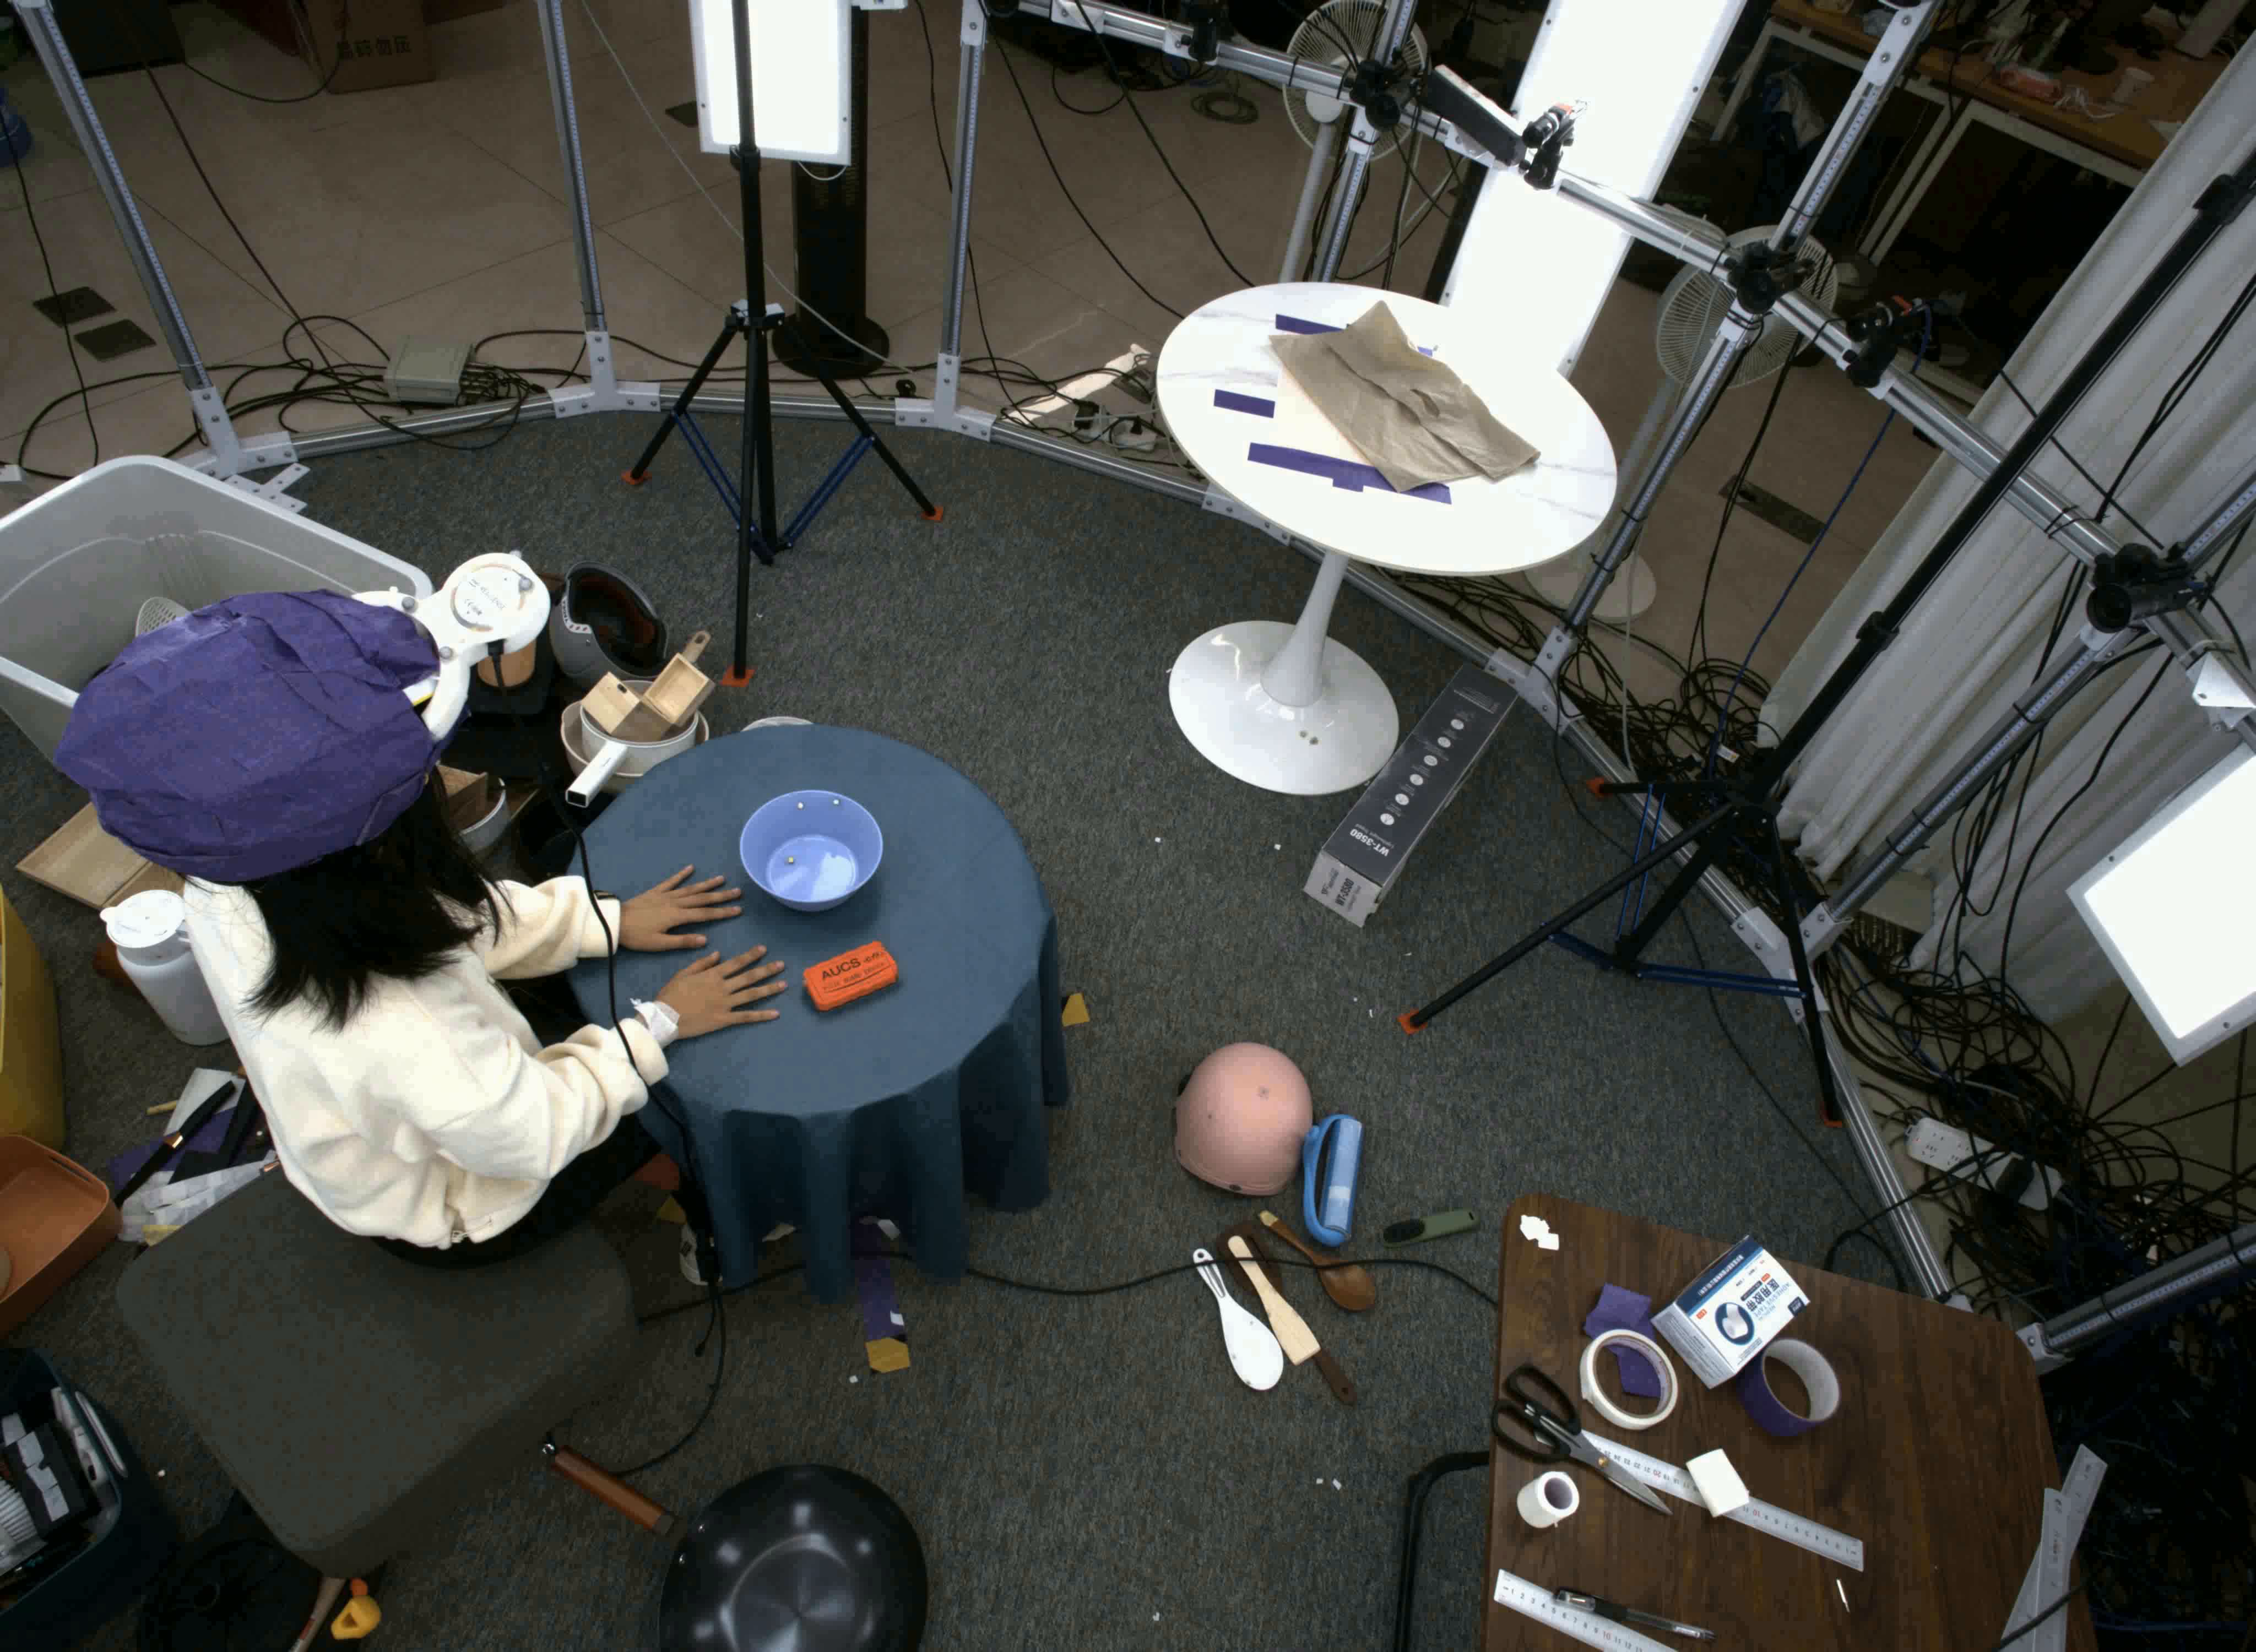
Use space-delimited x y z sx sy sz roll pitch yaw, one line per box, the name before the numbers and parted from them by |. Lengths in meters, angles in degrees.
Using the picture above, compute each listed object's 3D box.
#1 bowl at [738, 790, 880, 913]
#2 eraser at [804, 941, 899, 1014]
bowl | -0.404 0.042 1.647 0.176 0.072 0.173 8 52 -9
eraser | -0.338 0.183 1.590 0.108 0.023 0.057 -22 64 -28
